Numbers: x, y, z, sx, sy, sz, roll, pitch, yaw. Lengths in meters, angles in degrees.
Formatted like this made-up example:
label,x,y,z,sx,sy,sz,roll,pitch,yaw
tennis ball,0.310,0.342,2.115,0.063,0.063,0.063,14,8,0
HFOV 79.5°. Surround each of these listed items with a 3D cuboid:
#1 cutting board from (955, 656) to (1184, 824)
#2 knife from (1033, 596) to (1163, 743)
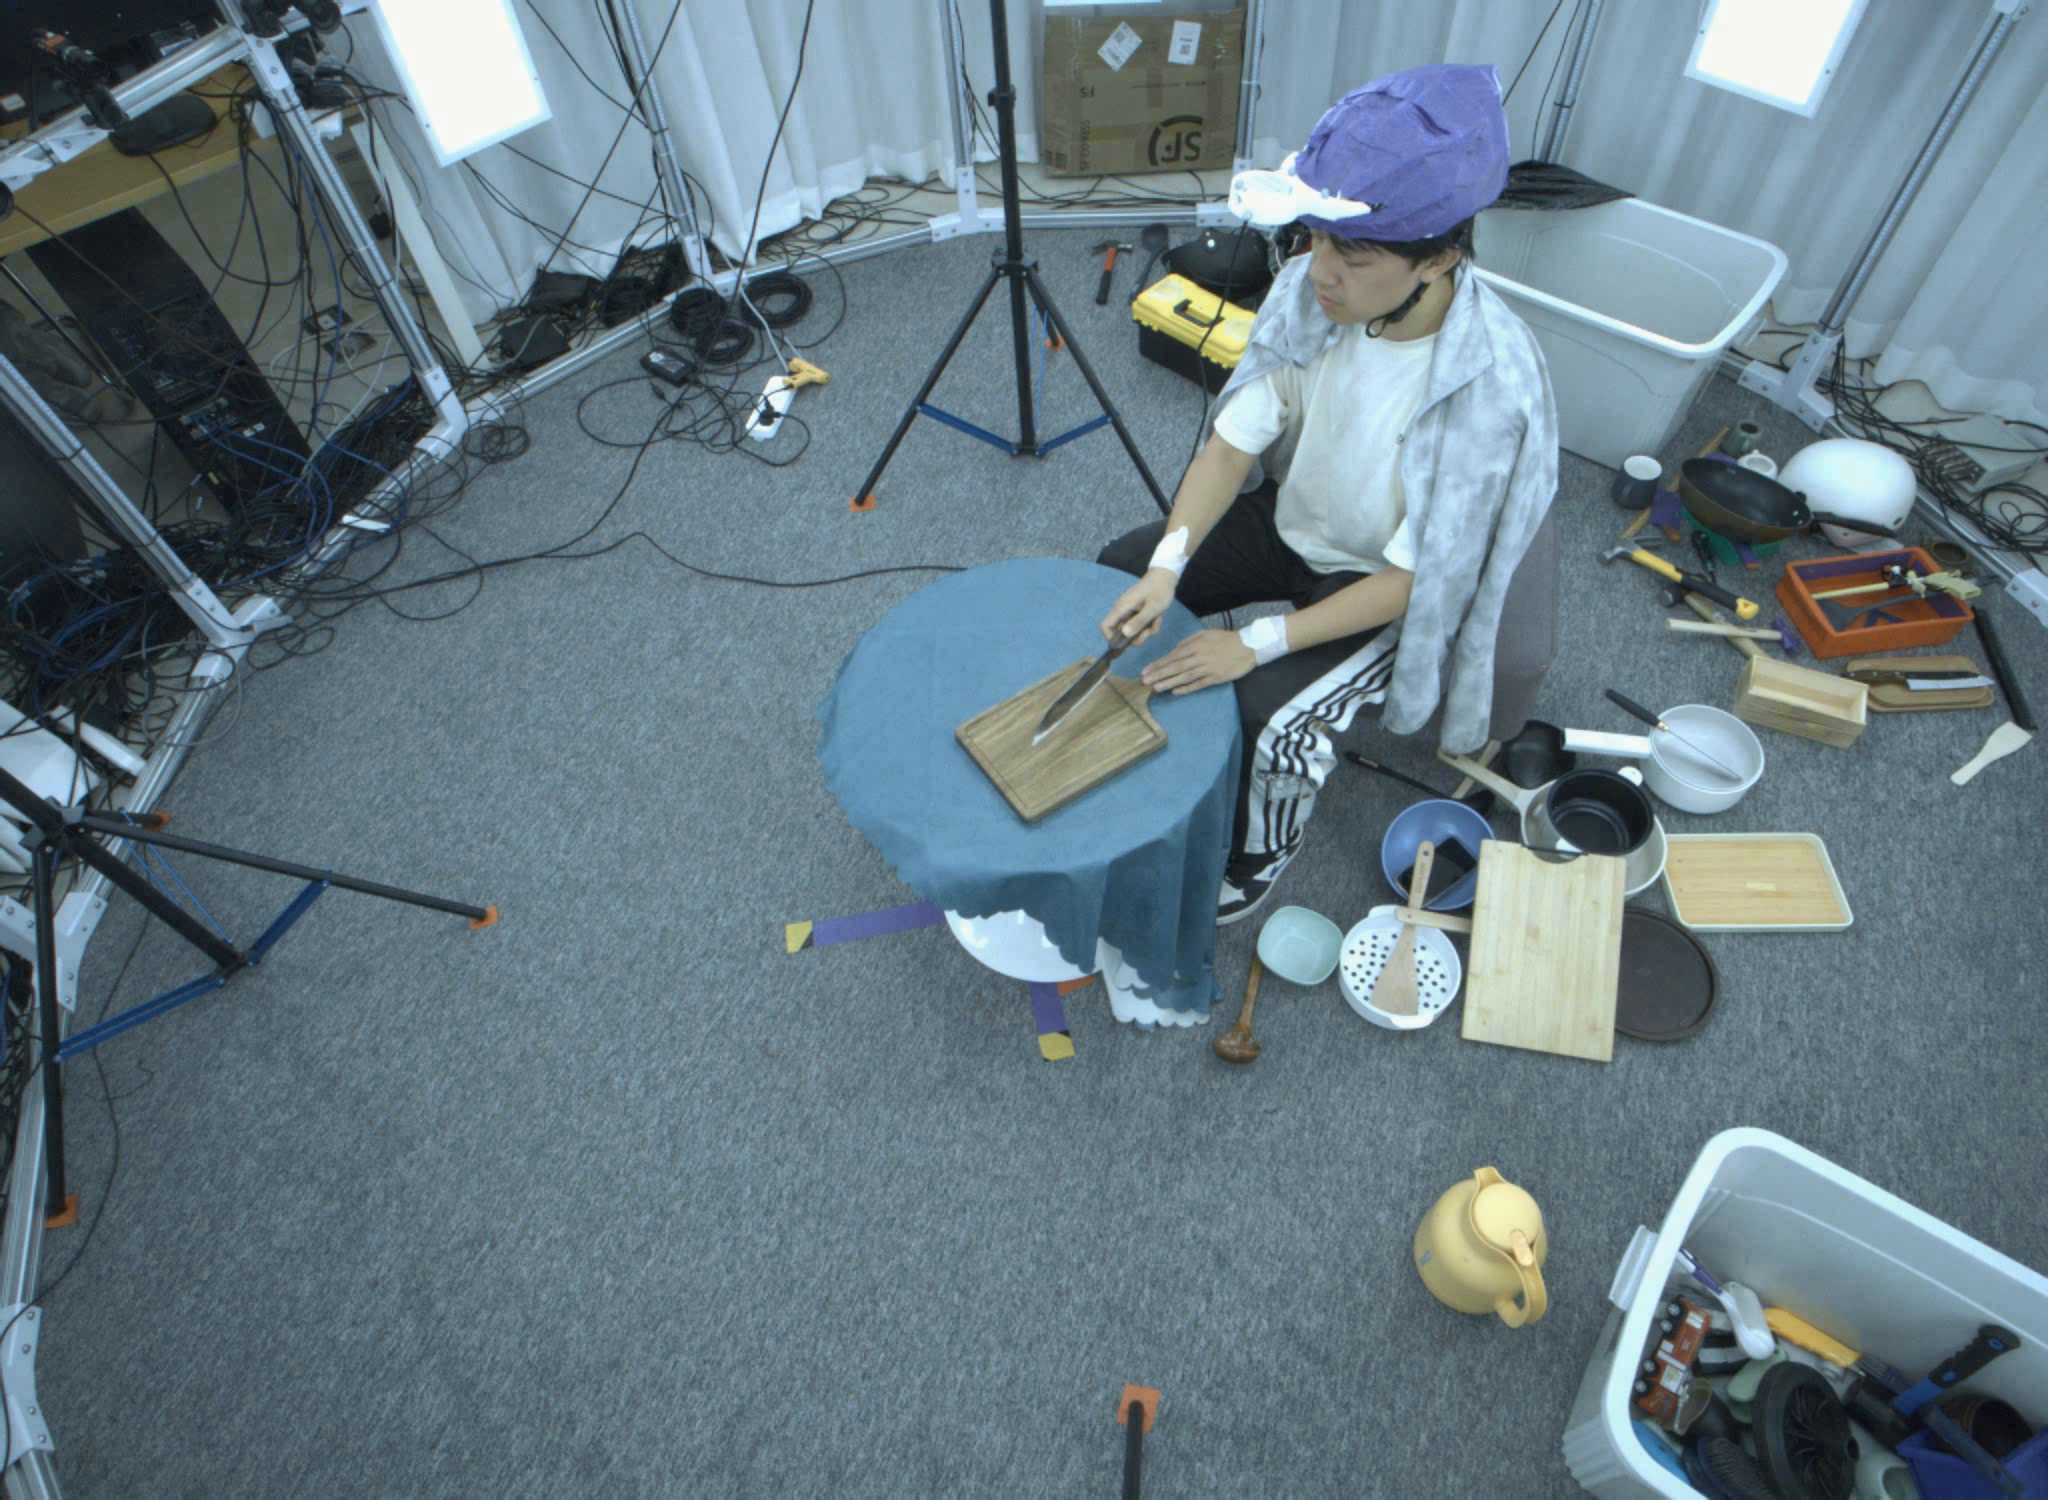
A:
label,x,y,z,sx,sy,sz,roll,pitch,yaw
cutting board,0.094,-0.044,1.807,0.355,0.023,0.197,-30,57,-19
knife,0.107,-0.118,1.779,0.023,0.068,0.301,34,62,19
